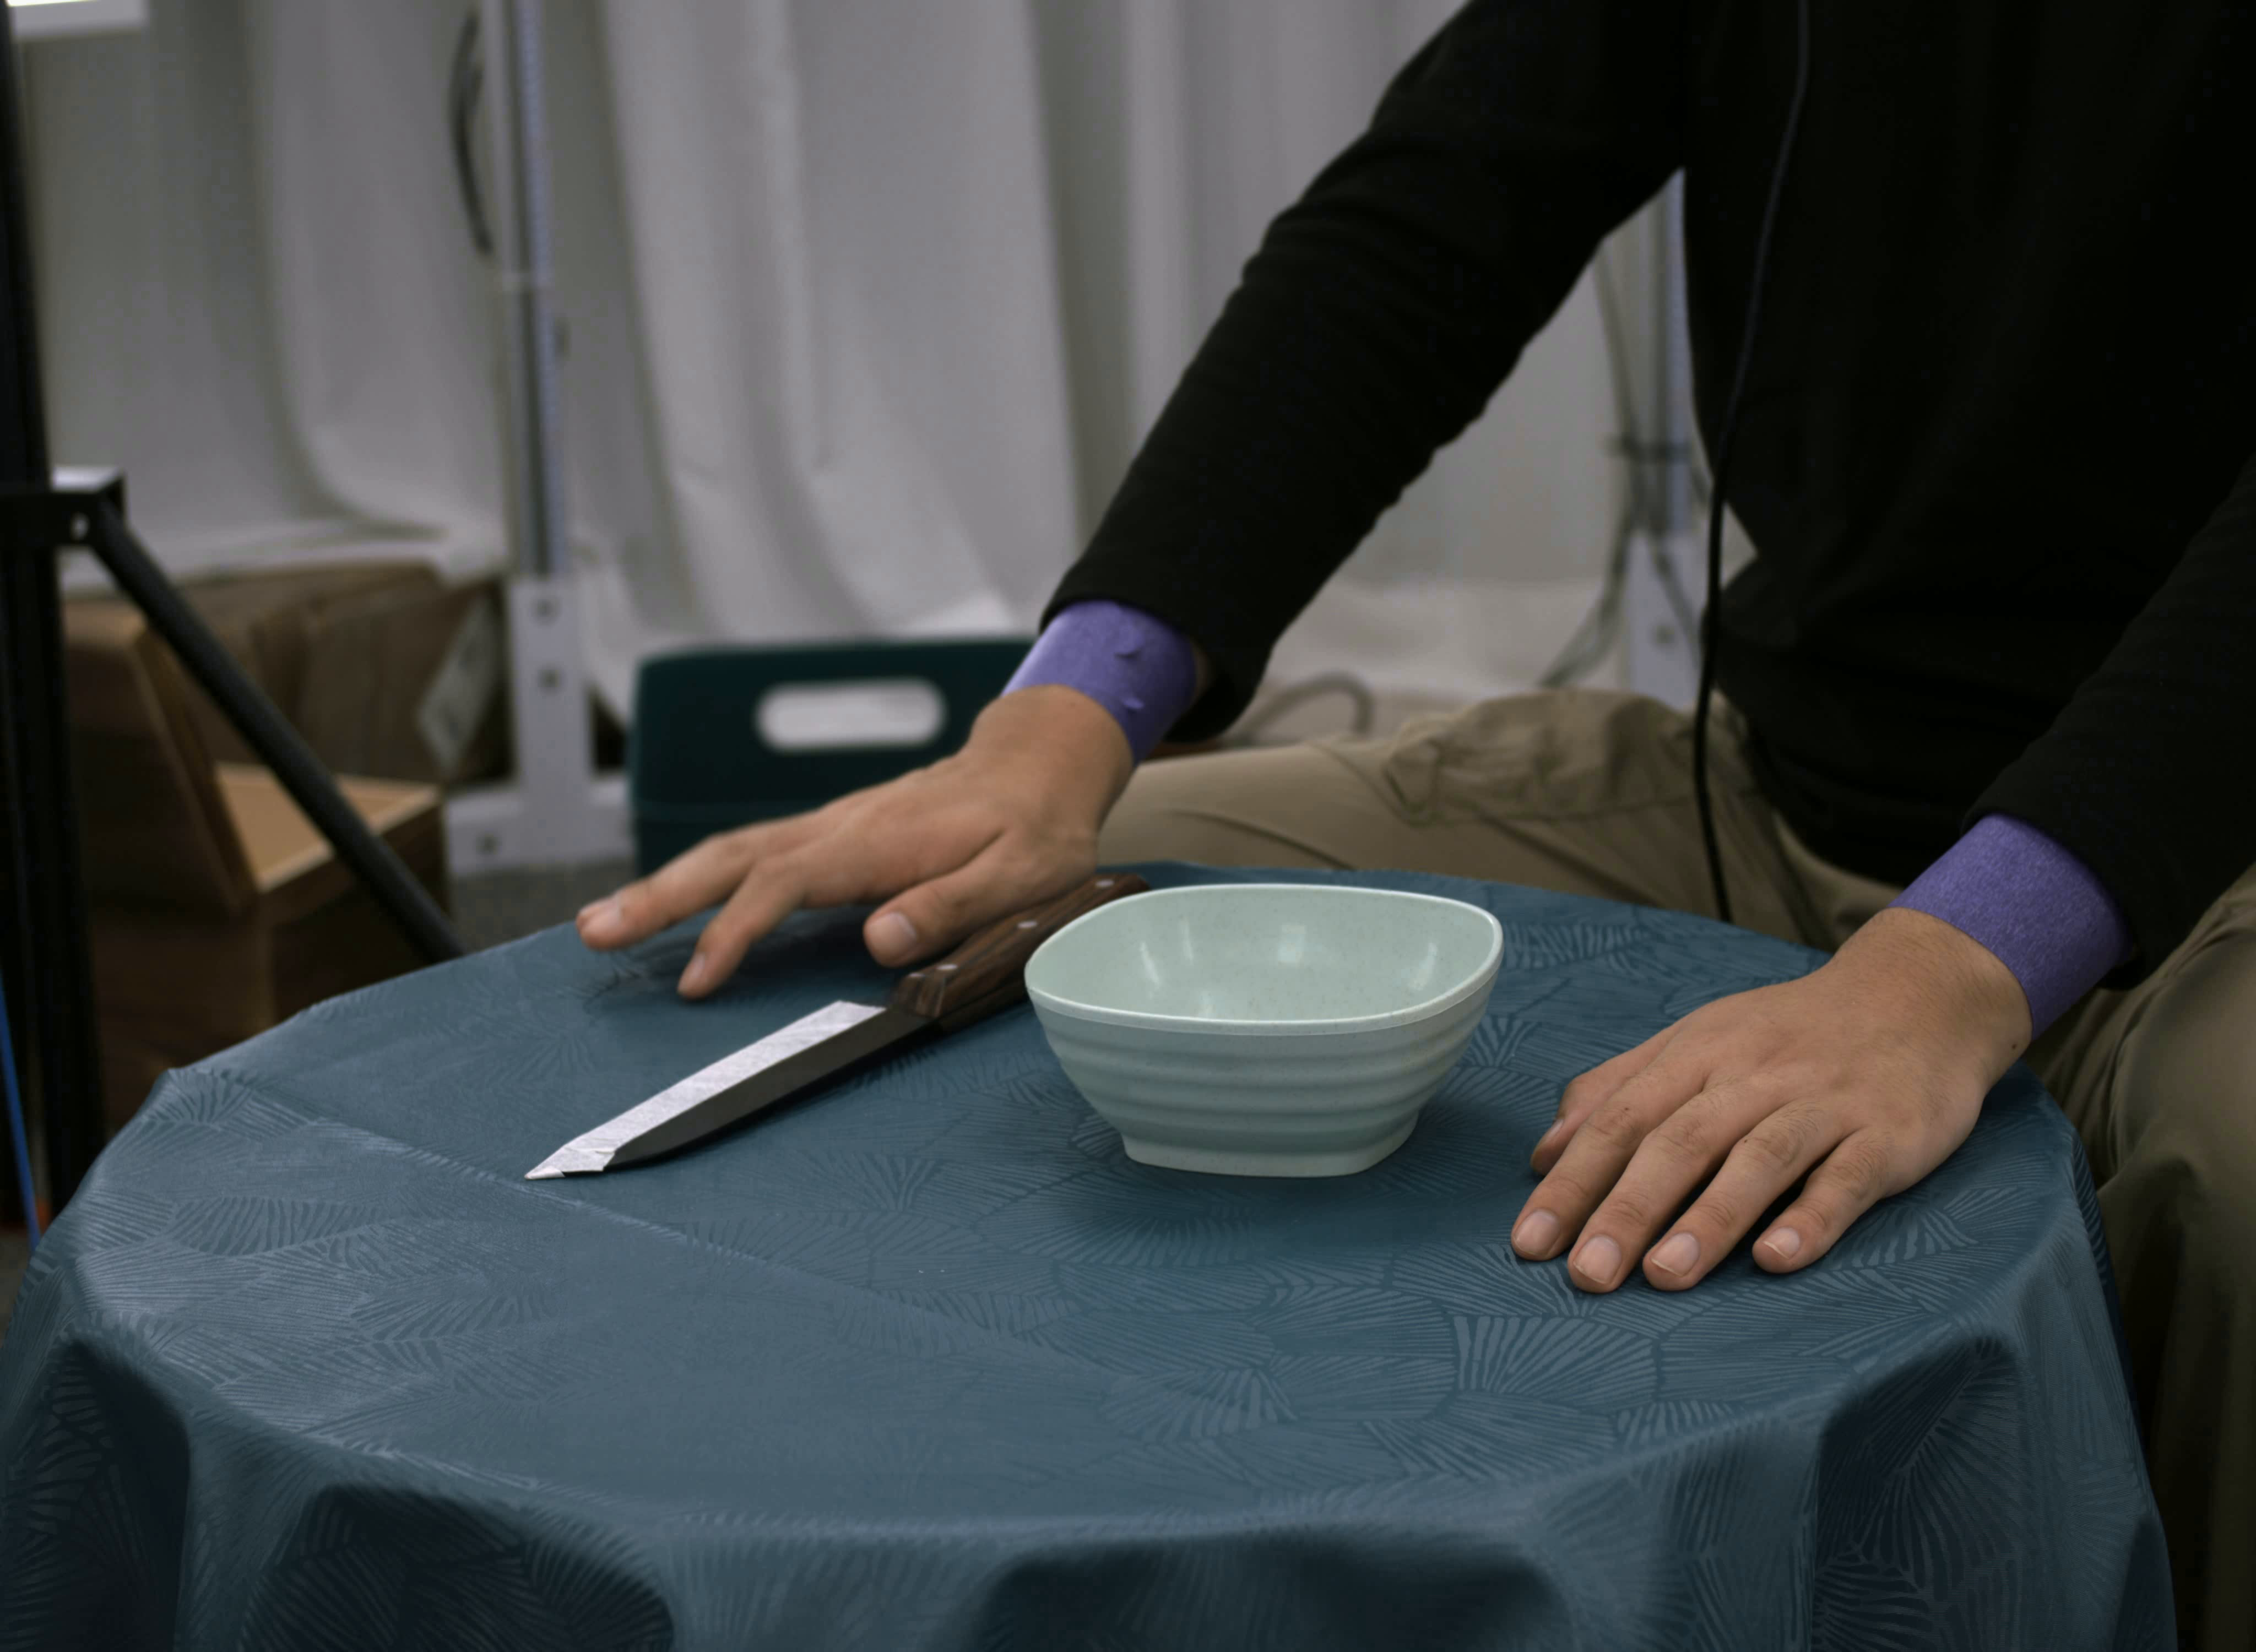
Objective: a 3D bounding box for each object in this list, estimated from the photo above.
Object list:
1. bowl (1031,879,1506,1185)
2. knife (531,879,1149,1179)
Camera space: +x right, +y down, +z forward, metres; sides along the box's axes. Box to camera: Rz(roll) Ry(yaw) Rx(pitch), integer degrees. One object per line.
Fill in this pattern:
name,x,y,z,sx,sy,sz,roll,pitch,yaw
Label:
bowl,0.044,0.065,1.596,0.151,0.058,0.152,-3,17,0
knife,-0.086,0.066,1.692,0.051,0.020,0.283,4,19,40
